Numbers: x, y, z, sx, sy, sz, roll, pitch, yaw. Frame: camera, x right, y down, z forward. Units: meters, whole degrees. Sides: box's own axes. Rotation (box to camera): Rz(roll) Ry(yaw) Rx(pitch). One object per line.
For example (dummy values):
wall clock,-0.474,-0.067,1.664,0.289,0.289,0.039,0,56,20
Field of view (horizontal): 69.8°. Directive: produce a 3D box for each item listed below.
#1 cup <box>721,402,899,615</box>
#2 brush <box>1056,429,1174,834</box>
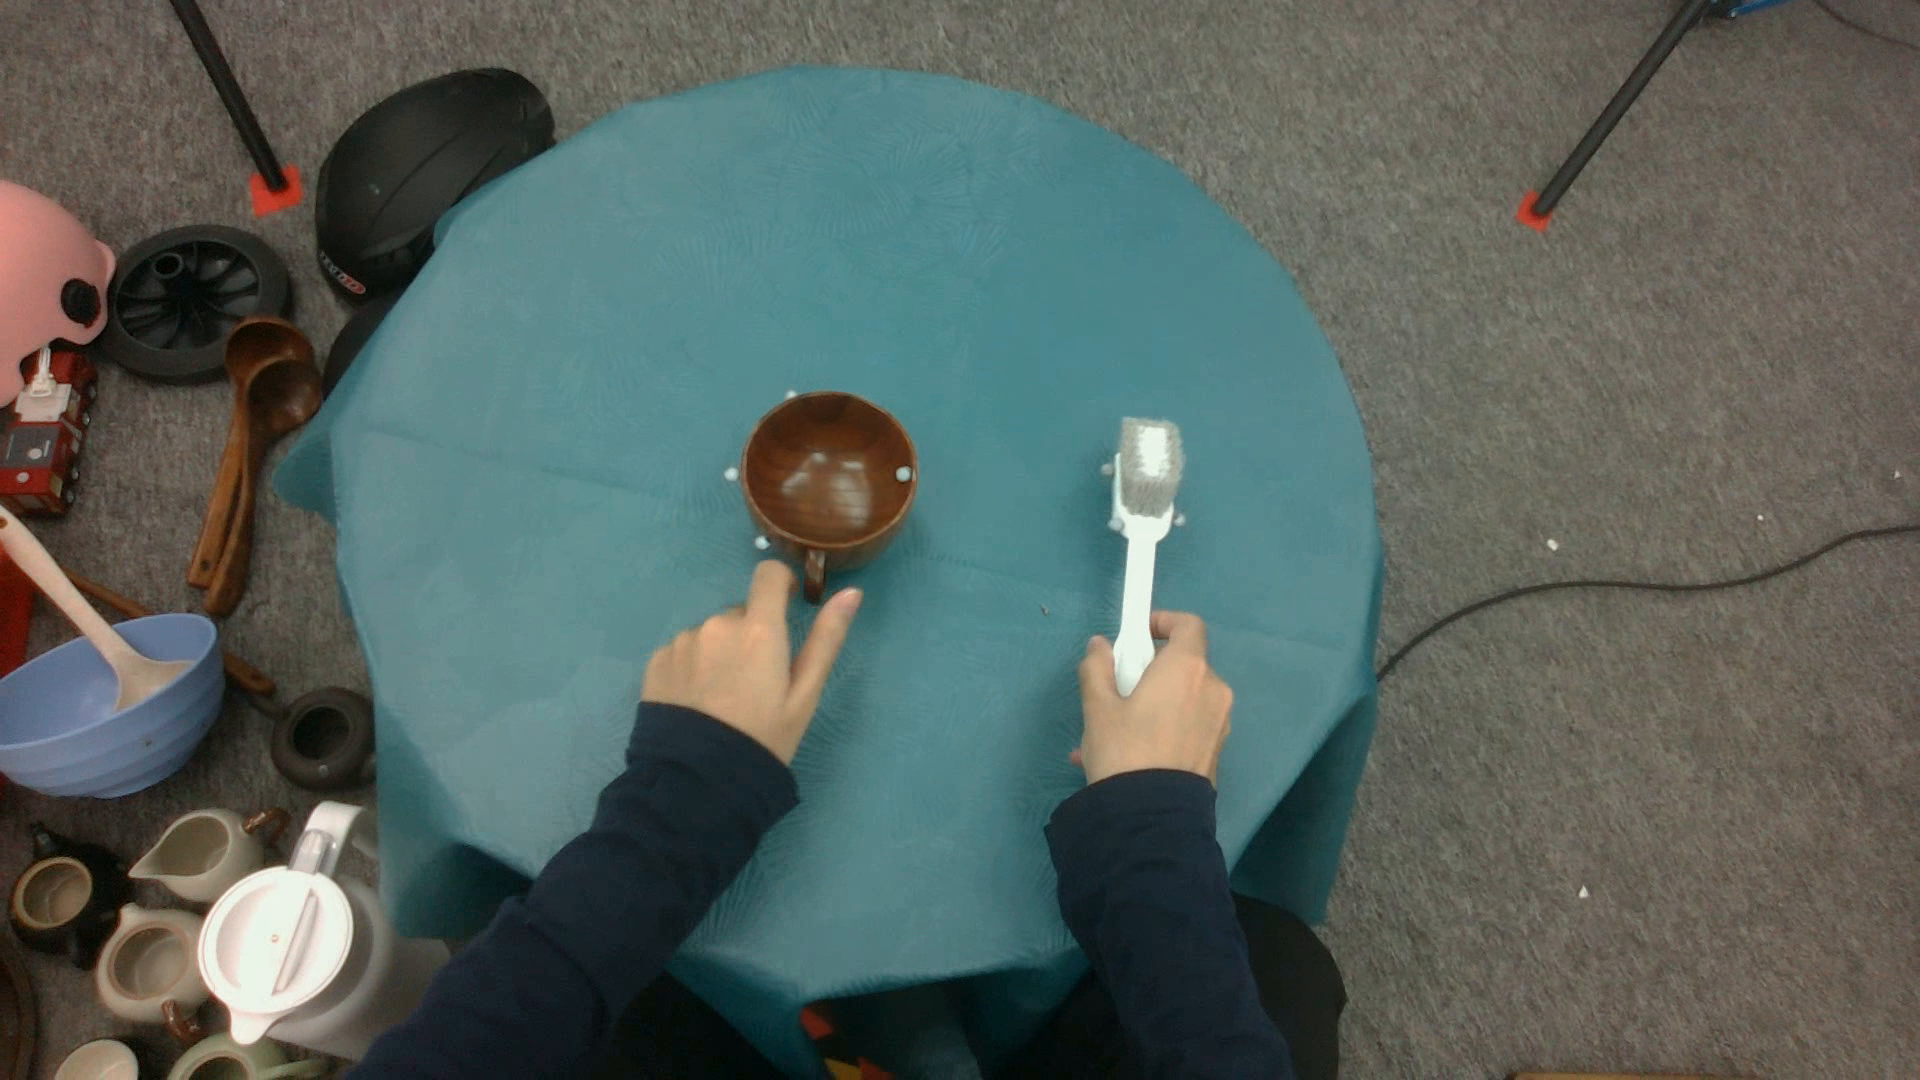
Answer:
cup,-0.085,-0.010,0.760,0.096,0.067,0.120,6,61,-6
brush,0.085,0.038,0.743,0.034,0.050,0.245,15,55,-2
